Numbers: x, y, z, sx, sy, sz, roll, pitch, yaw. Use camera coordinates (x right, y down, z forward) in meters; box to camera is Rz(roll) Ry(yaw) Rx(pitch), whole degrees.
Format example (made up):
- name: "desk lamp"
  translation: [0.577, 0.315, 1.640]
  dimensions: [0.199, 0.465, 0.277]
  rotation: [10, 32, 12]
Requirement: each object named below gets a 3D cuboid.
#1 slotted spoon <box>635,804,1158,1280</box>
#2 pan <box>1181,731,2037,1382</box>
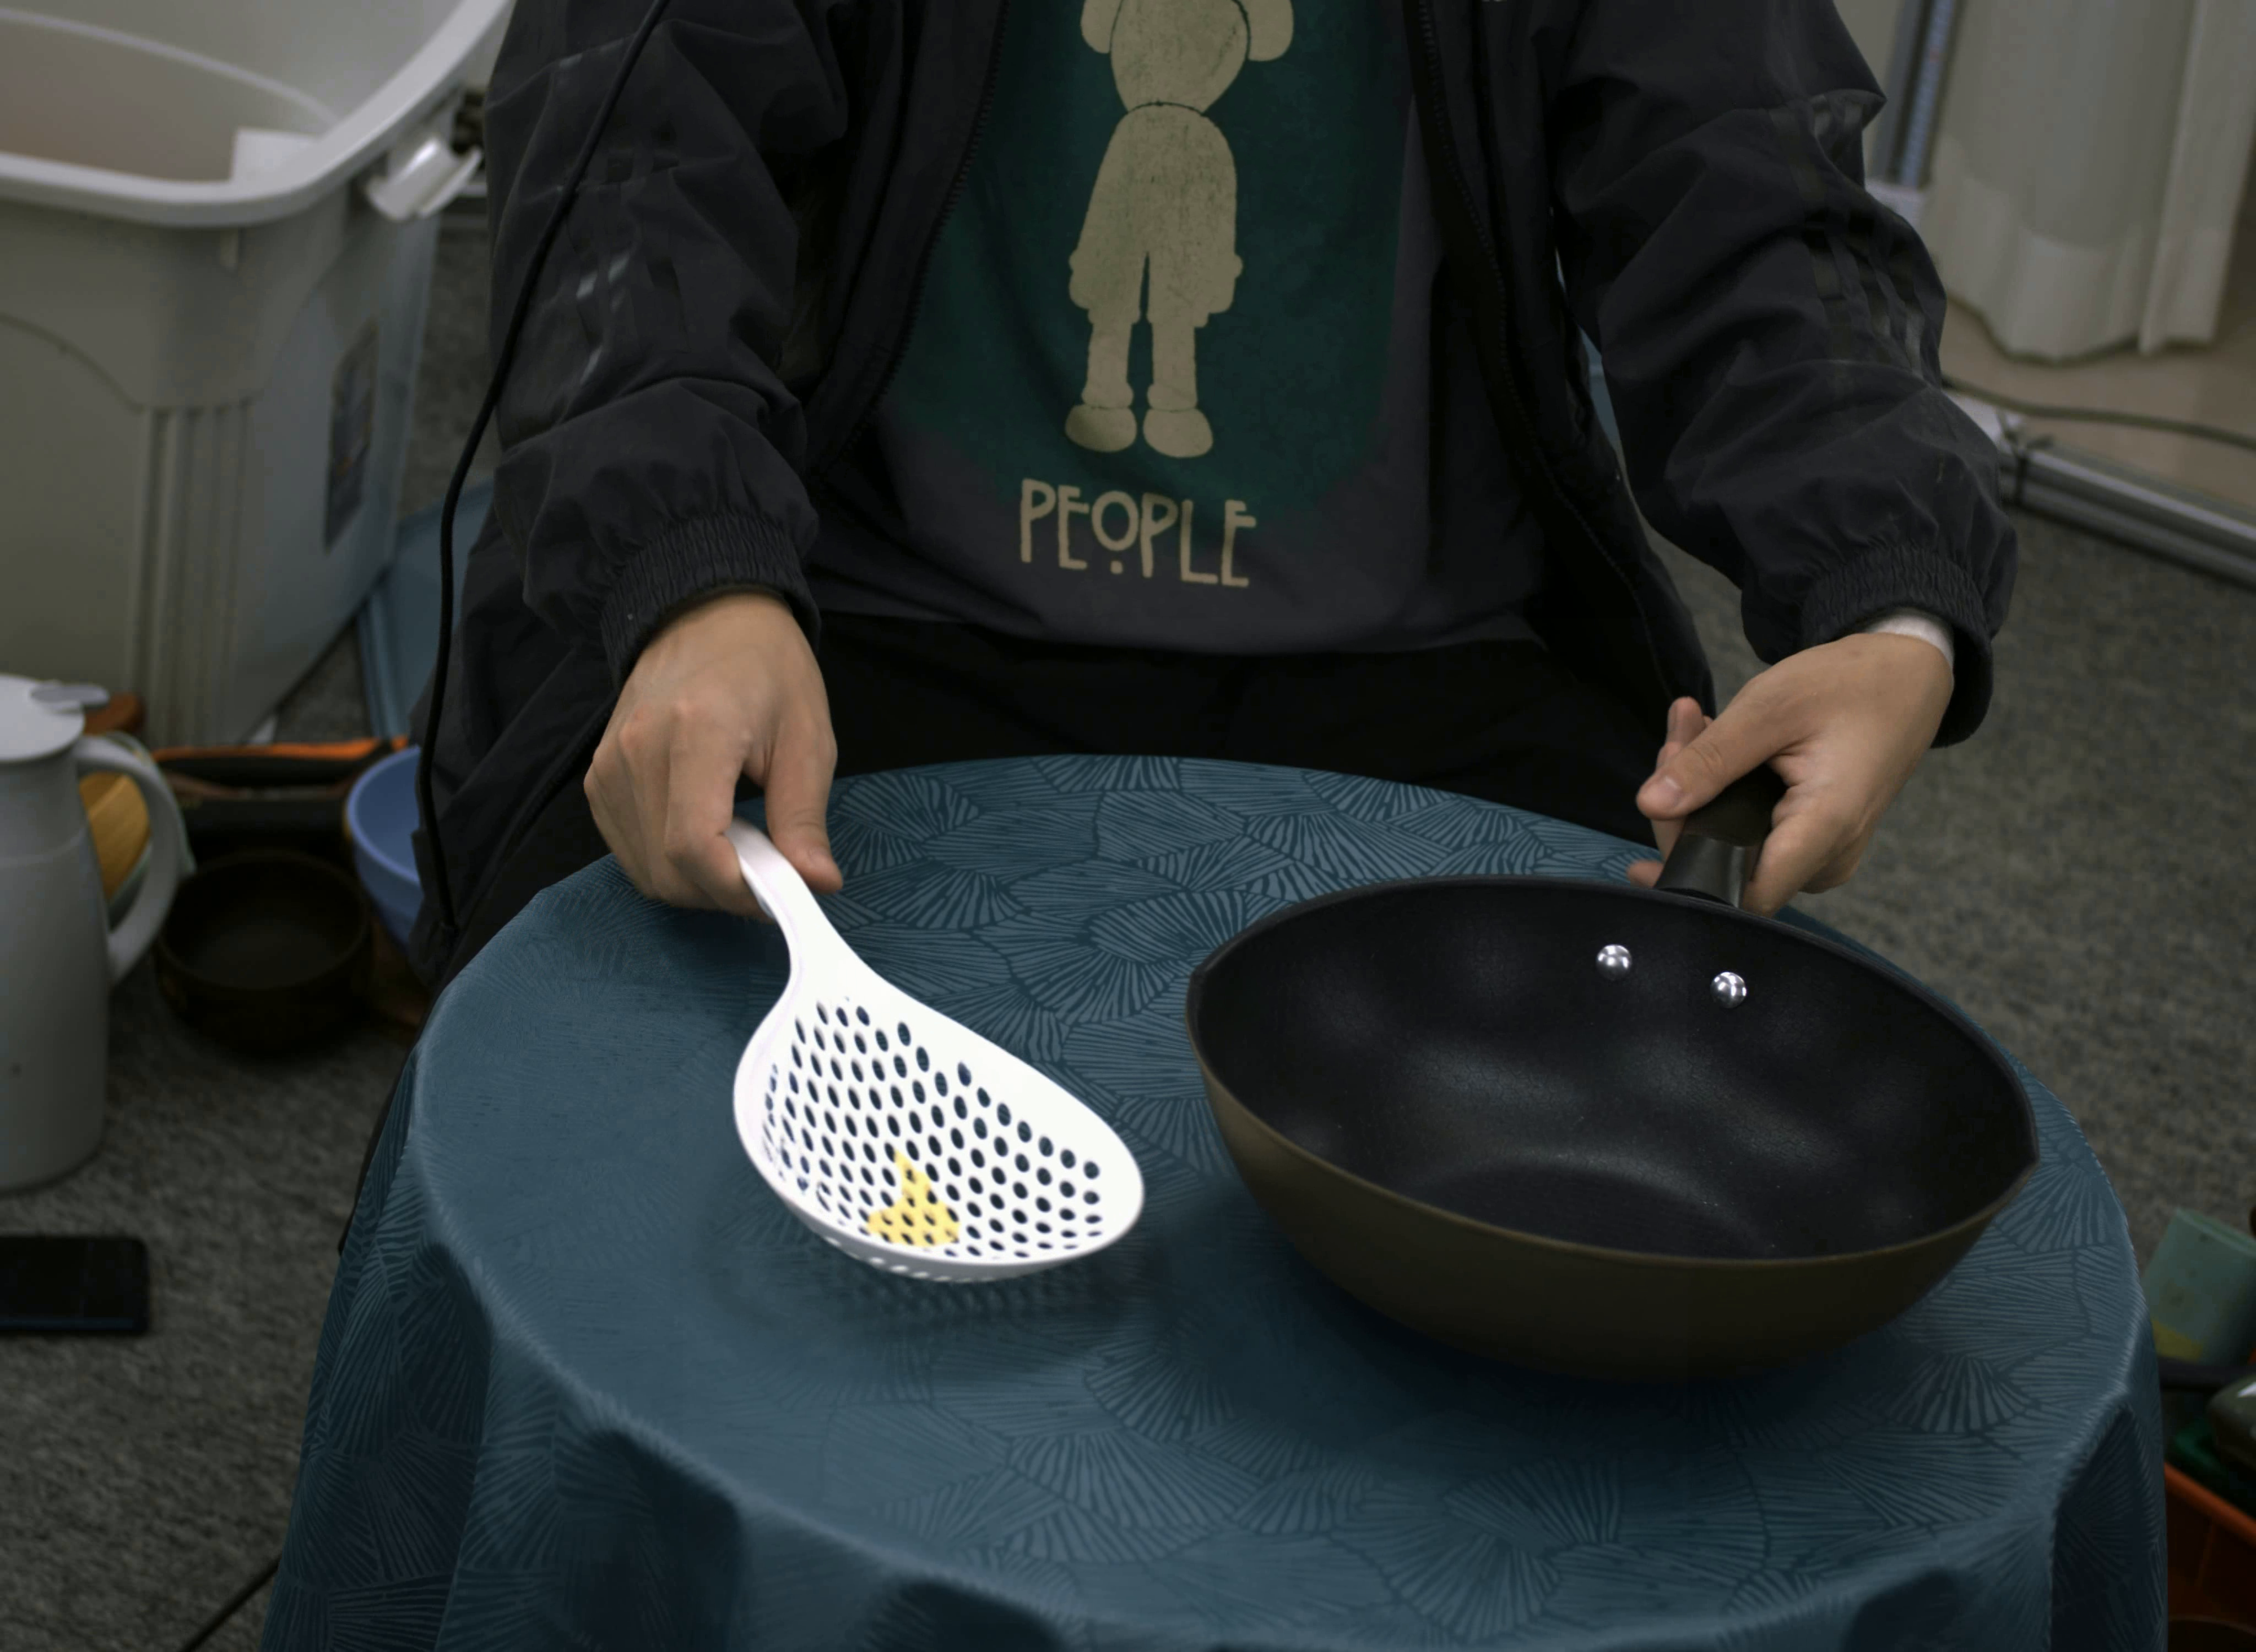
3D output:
- name: "slotted spoon"
  translation: [-0.102, 0.063, 1.837]
  dimensions: [0.136, 0.050, 0.351]
  rotation: [-1, 32, -24]
- name: "pan"
  translation: [0.179, 0.077, 1.849]
  dimensions: [0.288, 0.086, 0.464]
  rotation: [13, 24, 13]
